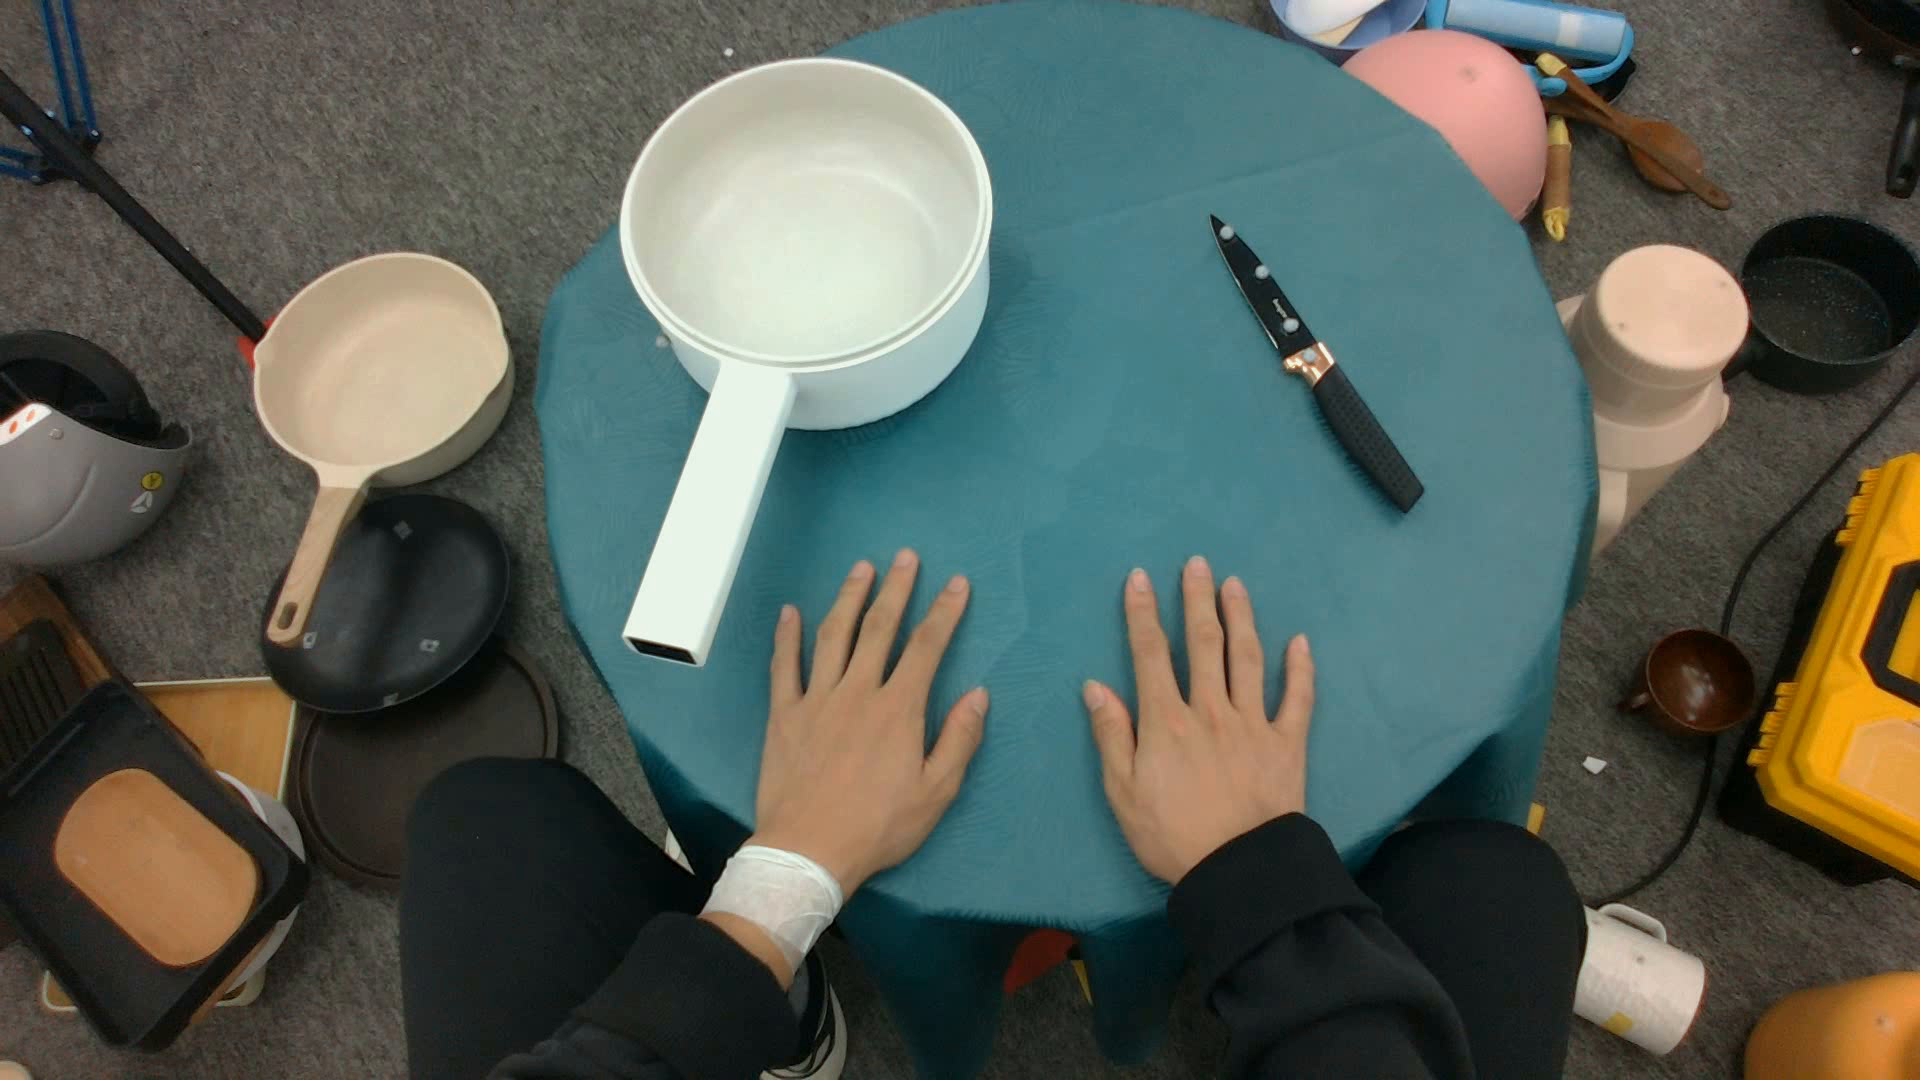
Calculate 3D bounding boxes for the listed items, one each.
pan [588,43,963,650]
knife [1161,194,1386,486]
[{"bbox_3d":[-0.116,-0.102,0.757,0.201,0.102,0.356,12,69,5],"label":"pan"},{"bbox_3d":[0.180,-0.123,0.803,0.026,0.017,0.226,-30,68,5],"label":"knife"}]
